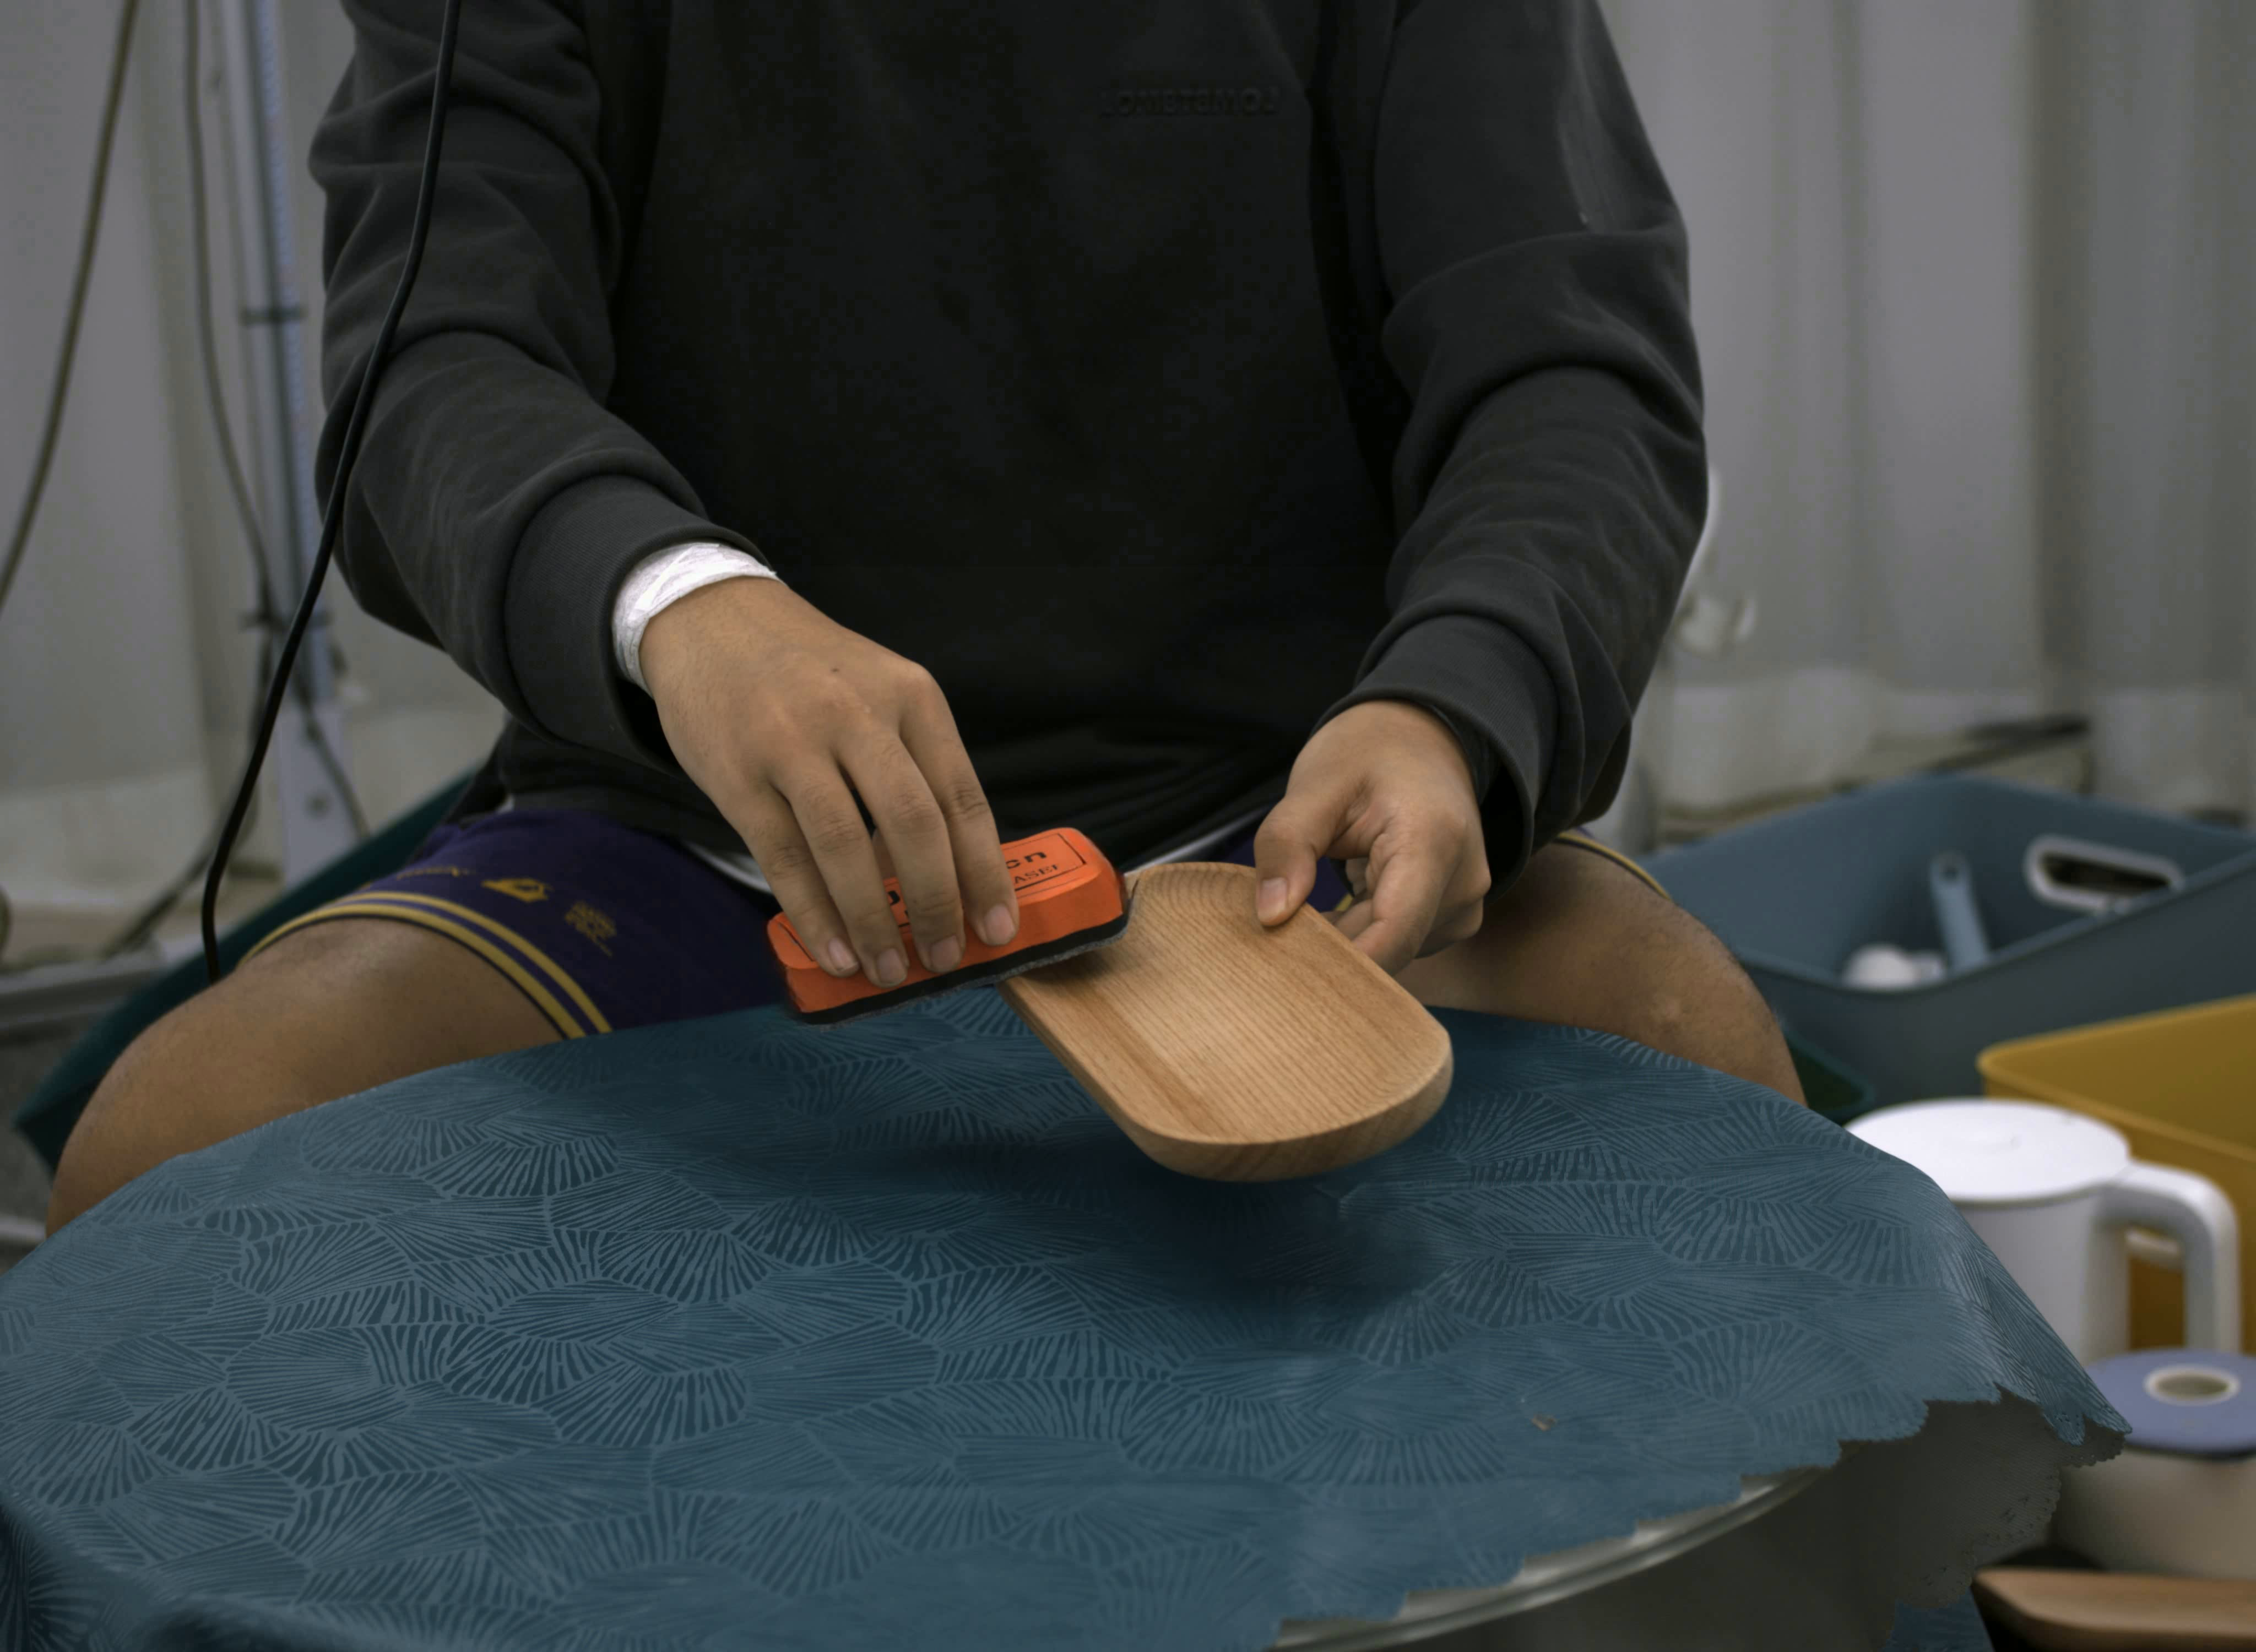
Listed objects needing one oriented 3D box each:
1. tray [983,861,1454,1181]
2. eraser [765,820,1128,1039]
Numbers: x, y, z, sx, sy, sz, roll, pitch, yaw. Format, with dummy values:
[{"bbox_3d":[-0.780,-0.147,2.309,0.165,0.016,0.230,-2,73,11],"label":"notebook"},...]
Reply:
[{"bbox_3d":[0.025,0.058,1.685,0.101,0.020,0.233,-16,21,-15],"label":"tray"},{"bbox_3d":[-0.058,0.033,1.740,0.108,0.022,0.060,-17,31,-10],"label":"eraser"}]
